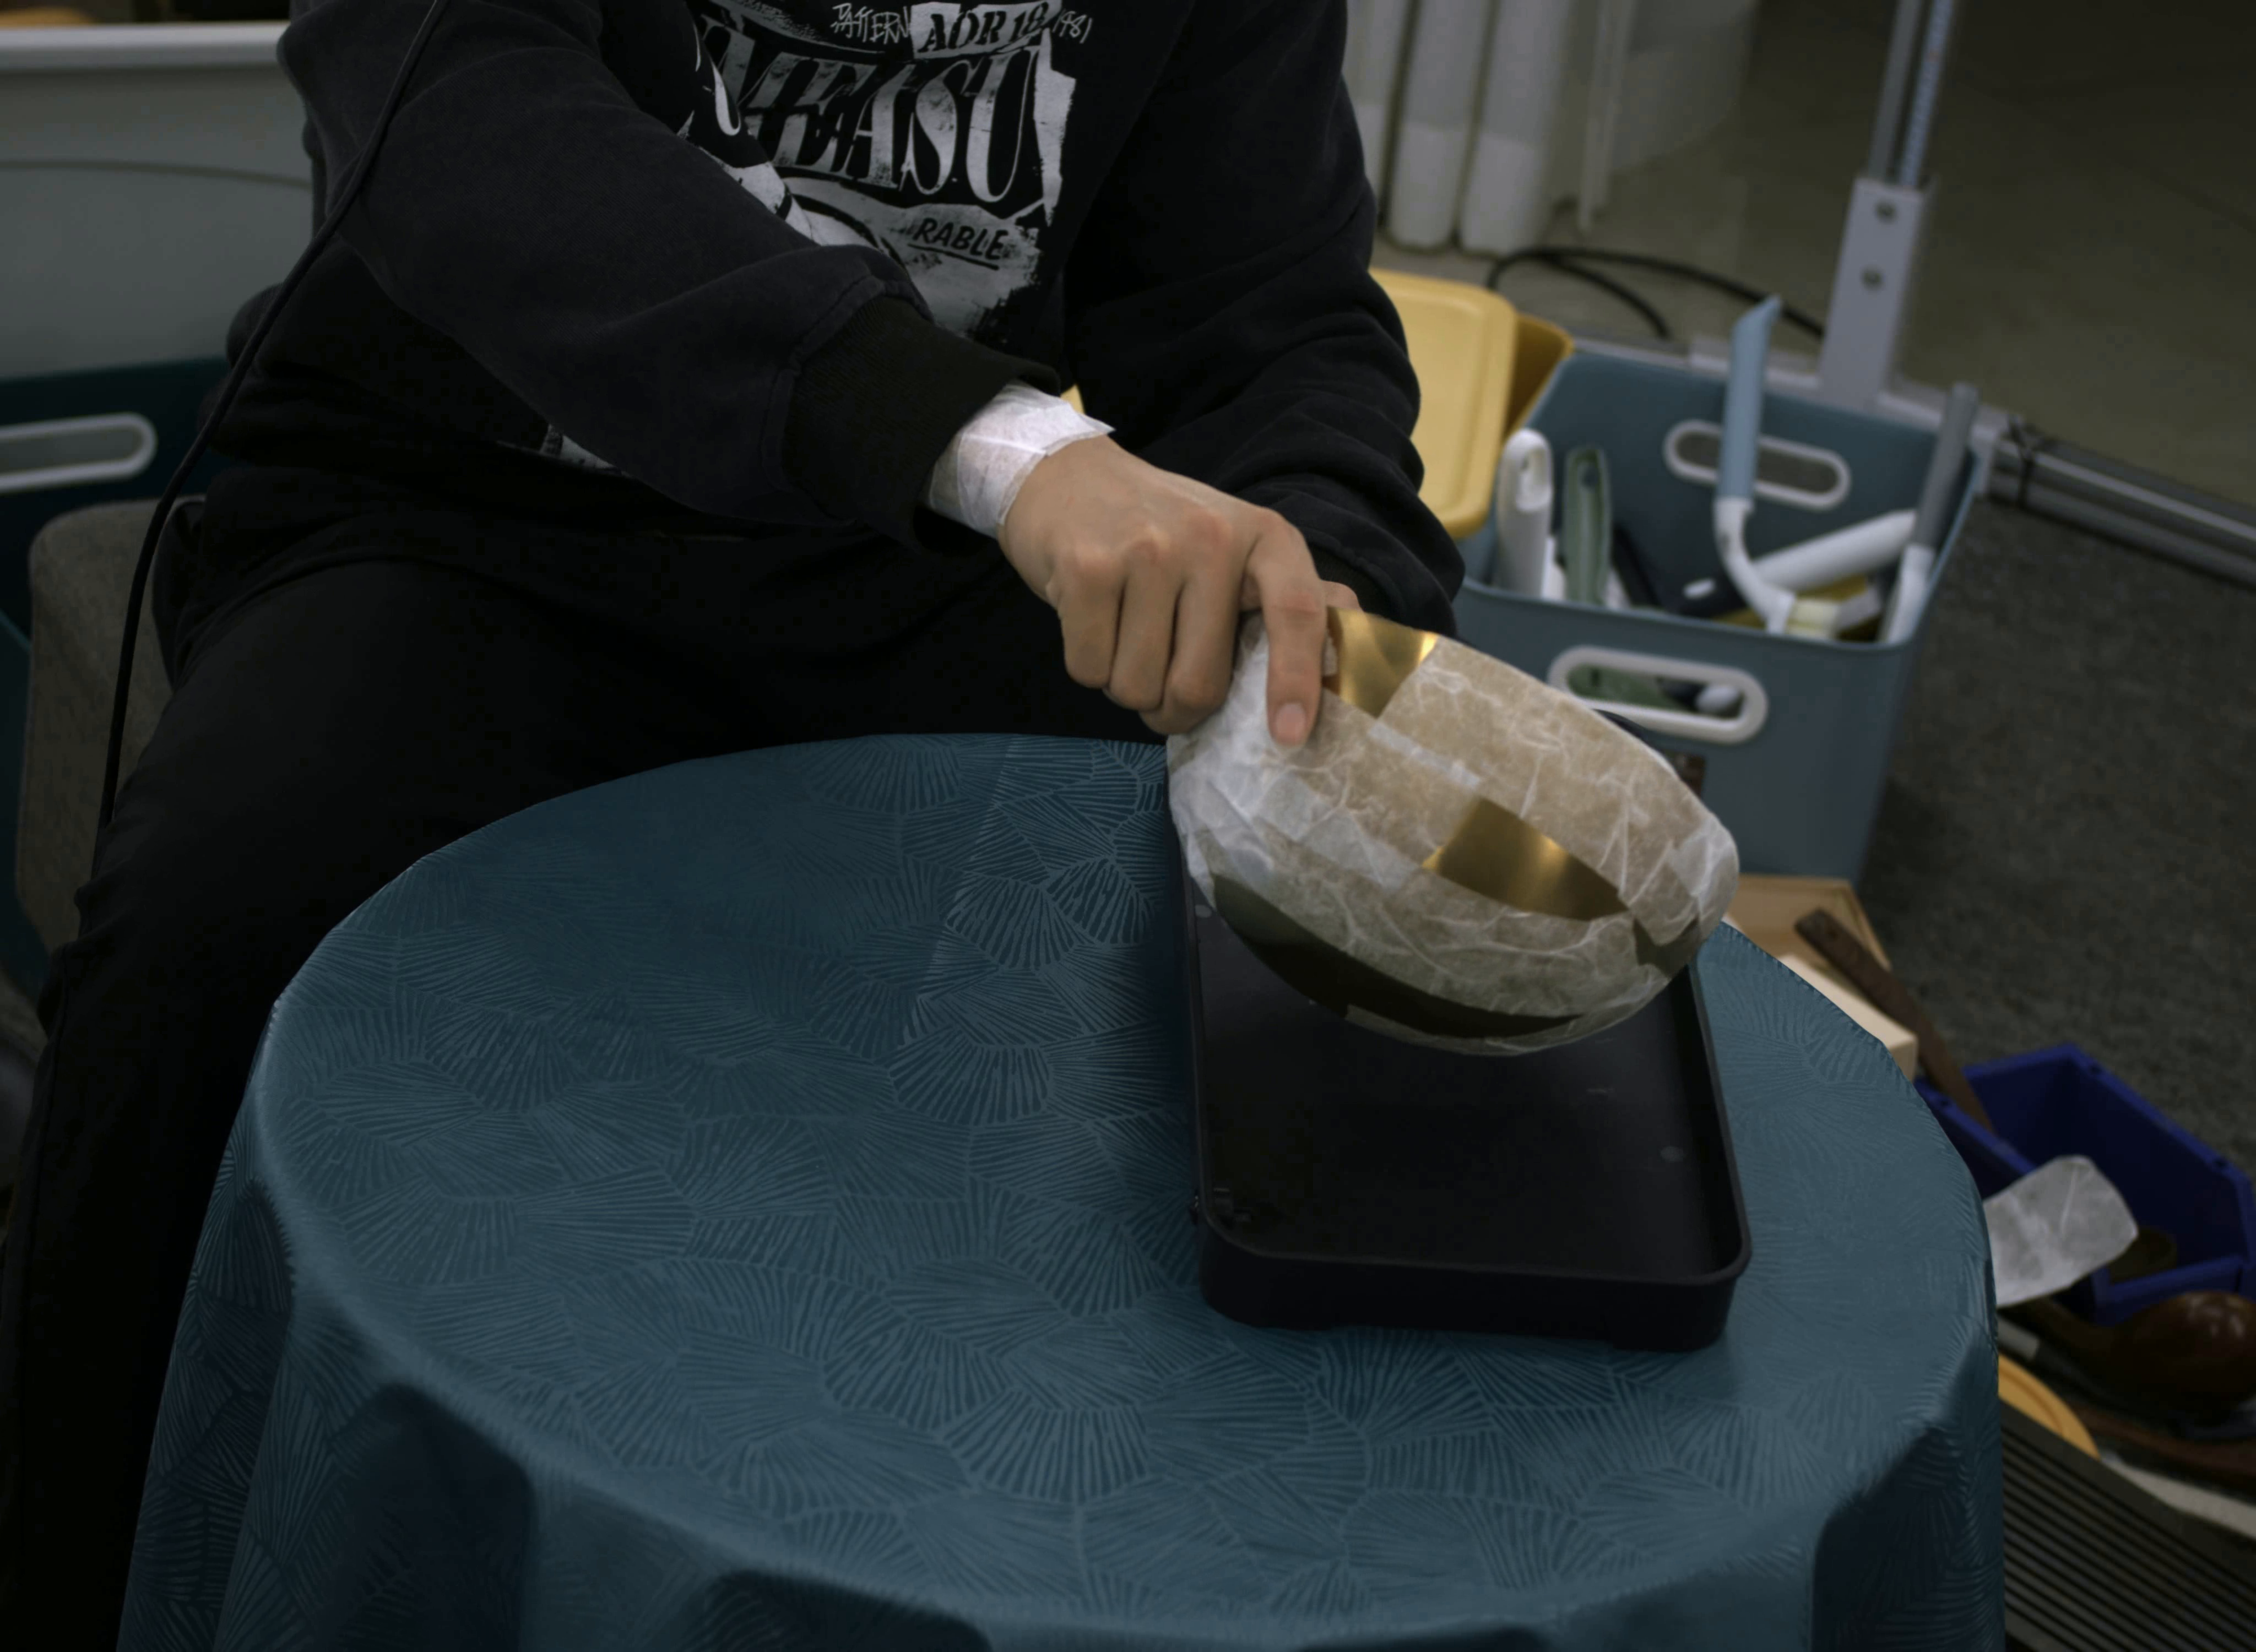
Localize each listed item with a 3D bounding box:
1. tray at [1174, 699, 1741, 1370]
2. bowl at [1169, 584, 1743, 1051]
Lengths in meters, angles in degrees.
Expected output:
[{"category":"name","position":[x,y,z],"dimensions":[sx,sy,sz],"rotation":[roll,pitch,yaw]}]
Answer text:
[{"category":"tray","position":[0.107,0.063,1.854],"dimensions":[0.183,0.037,0.320],"rotation":[5,38,-4]},{"category":"bowl","position":[0.095,0.016,1.782],"dimensions":[0.215,0.213,0.095],"rotation":[19,70,22]}]
